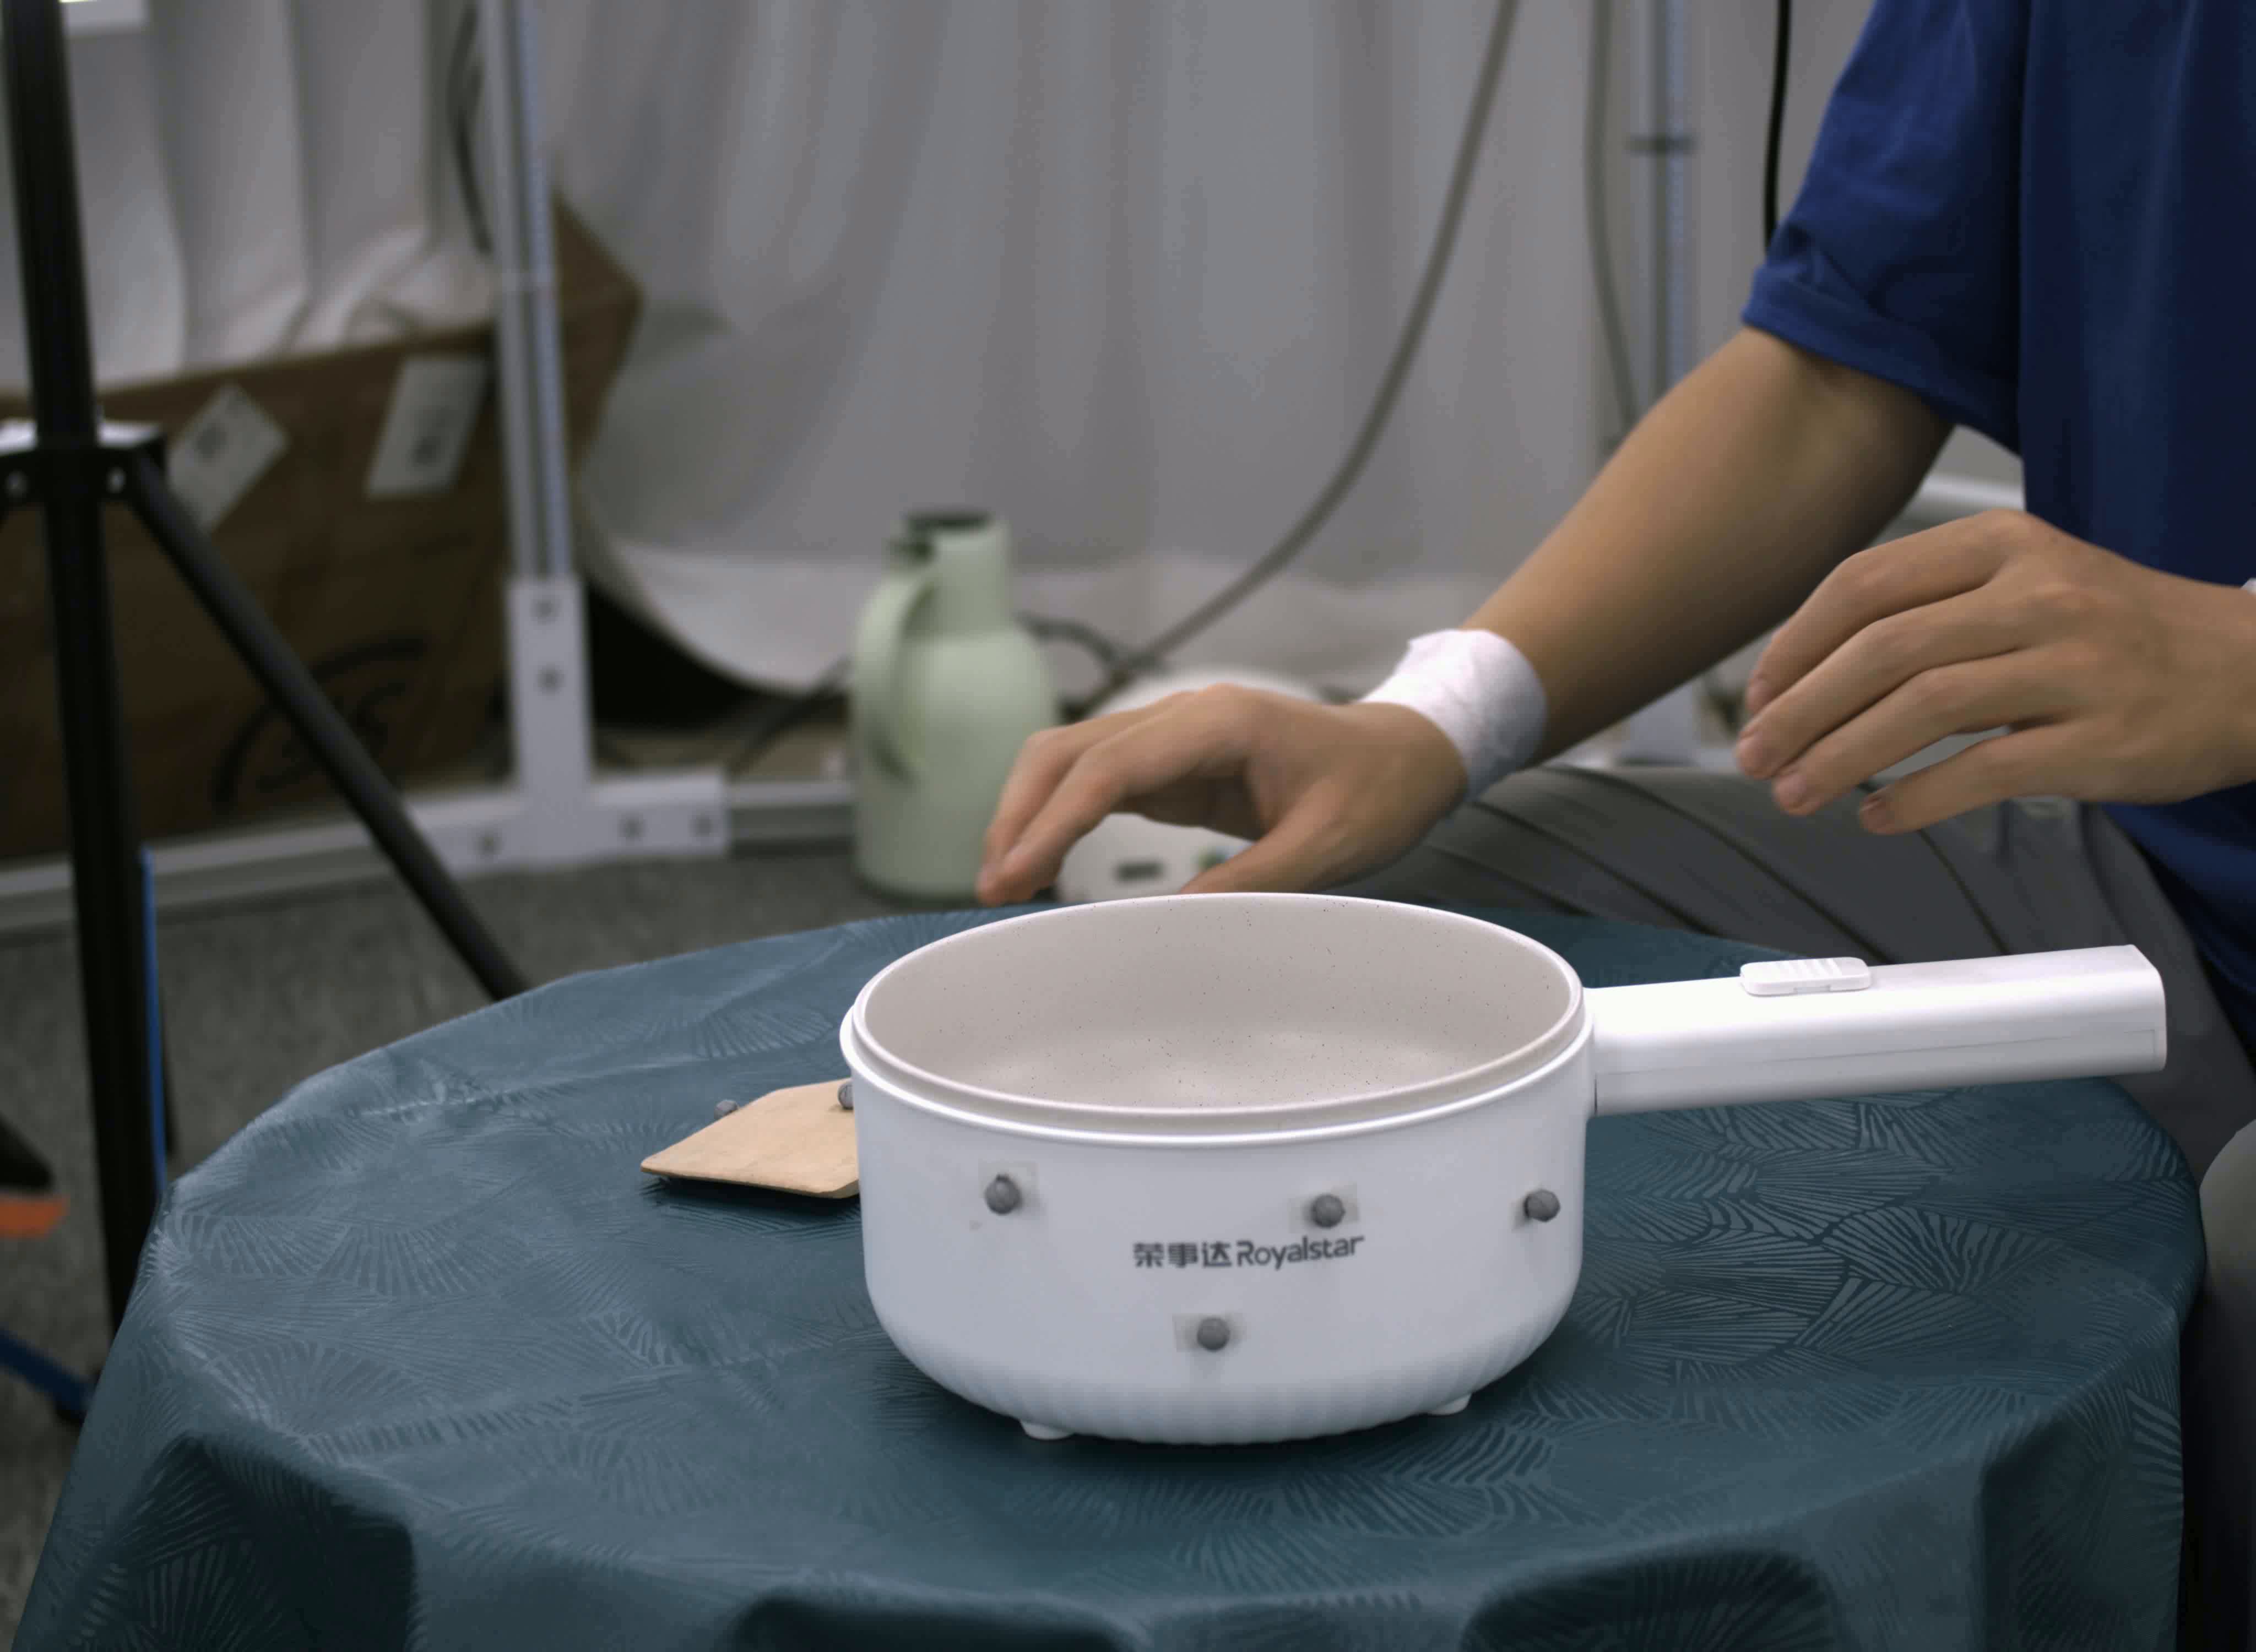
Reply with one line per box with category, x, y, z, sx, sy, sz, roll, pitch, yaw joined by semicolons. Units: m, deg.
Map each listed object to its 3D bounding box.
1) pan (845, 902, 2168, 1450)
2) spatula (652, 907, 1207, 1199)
pan;0.103;0.091;1.423;0.352;0.102;0.202;-3;14;-2
spatula;-0.049;0.069;1.687;0.073;0.010;0.288;5;18;27
